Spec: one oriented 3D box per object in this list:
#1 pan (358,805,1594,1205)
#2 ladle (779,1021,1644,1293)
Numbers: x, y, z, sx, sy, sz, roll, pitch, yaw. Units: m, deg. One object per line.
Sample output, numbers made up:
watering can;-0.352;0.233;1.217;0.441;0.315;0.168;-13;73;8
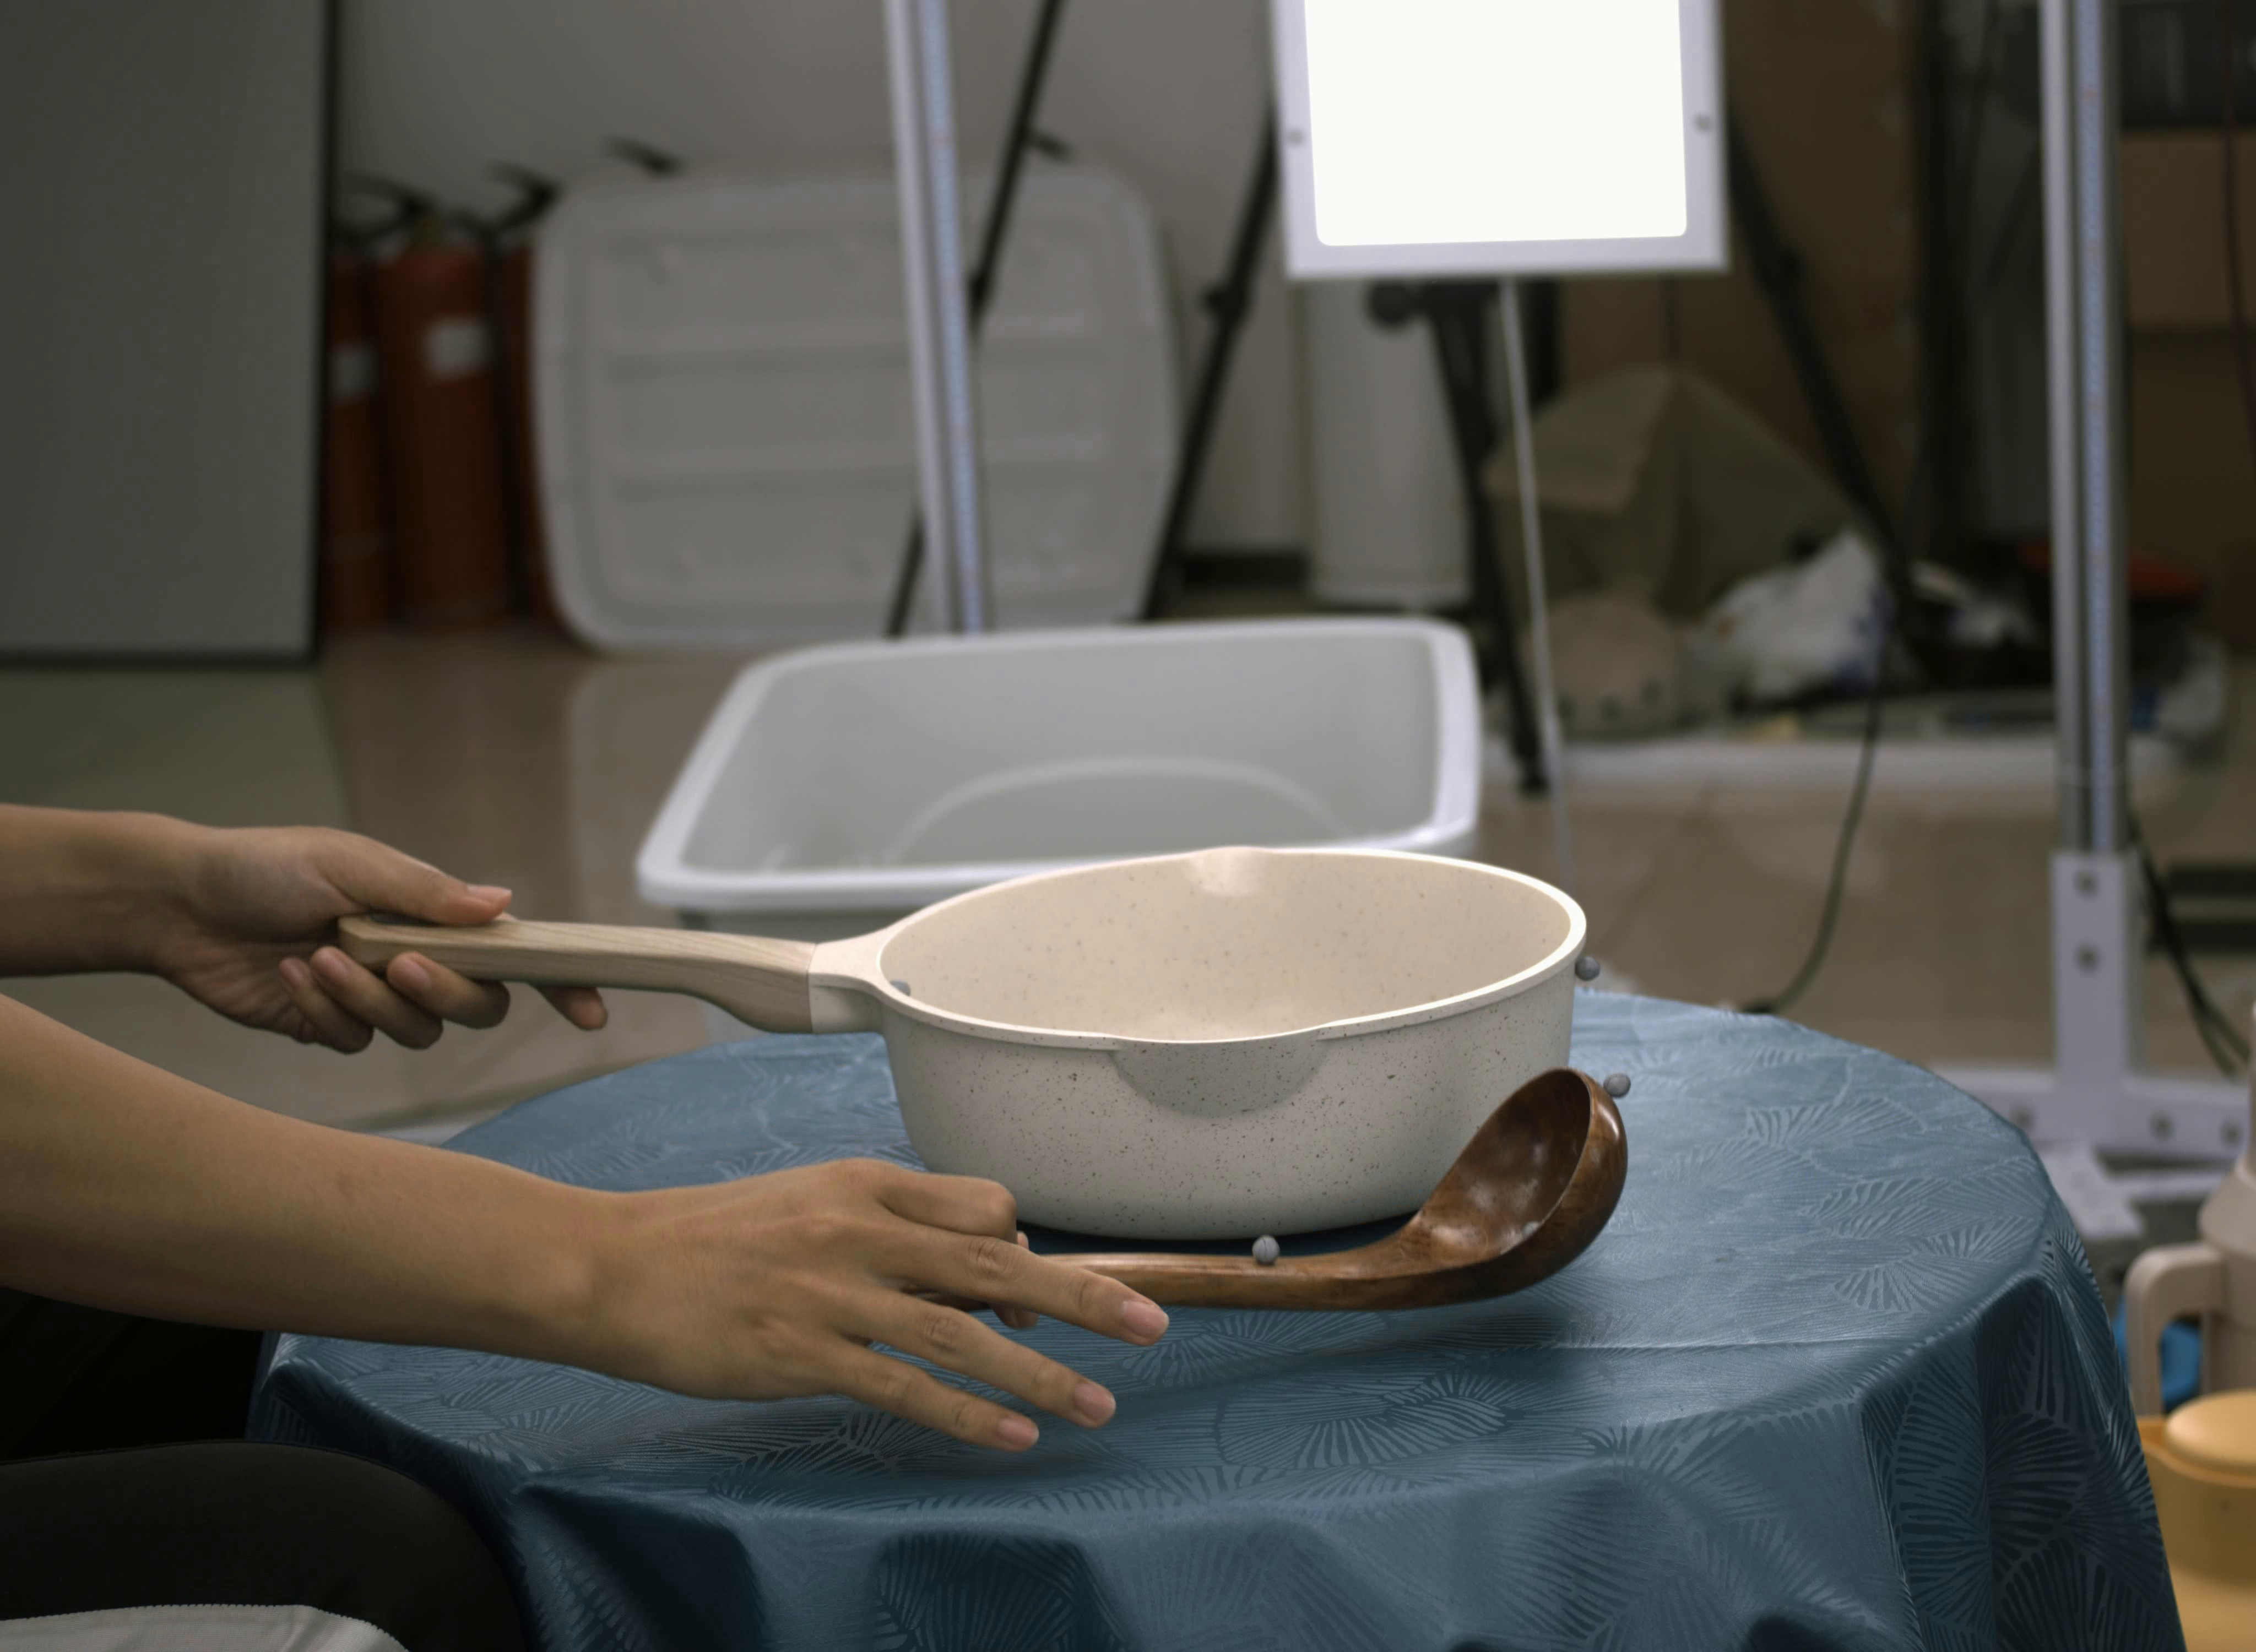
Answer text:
pan;-0.051;0.063;1.941;0.435;0.102;0.262;-4;15;5
ladle;0.028;0.102;1.707;0.271;0.077;0.082;-1;9;-10
